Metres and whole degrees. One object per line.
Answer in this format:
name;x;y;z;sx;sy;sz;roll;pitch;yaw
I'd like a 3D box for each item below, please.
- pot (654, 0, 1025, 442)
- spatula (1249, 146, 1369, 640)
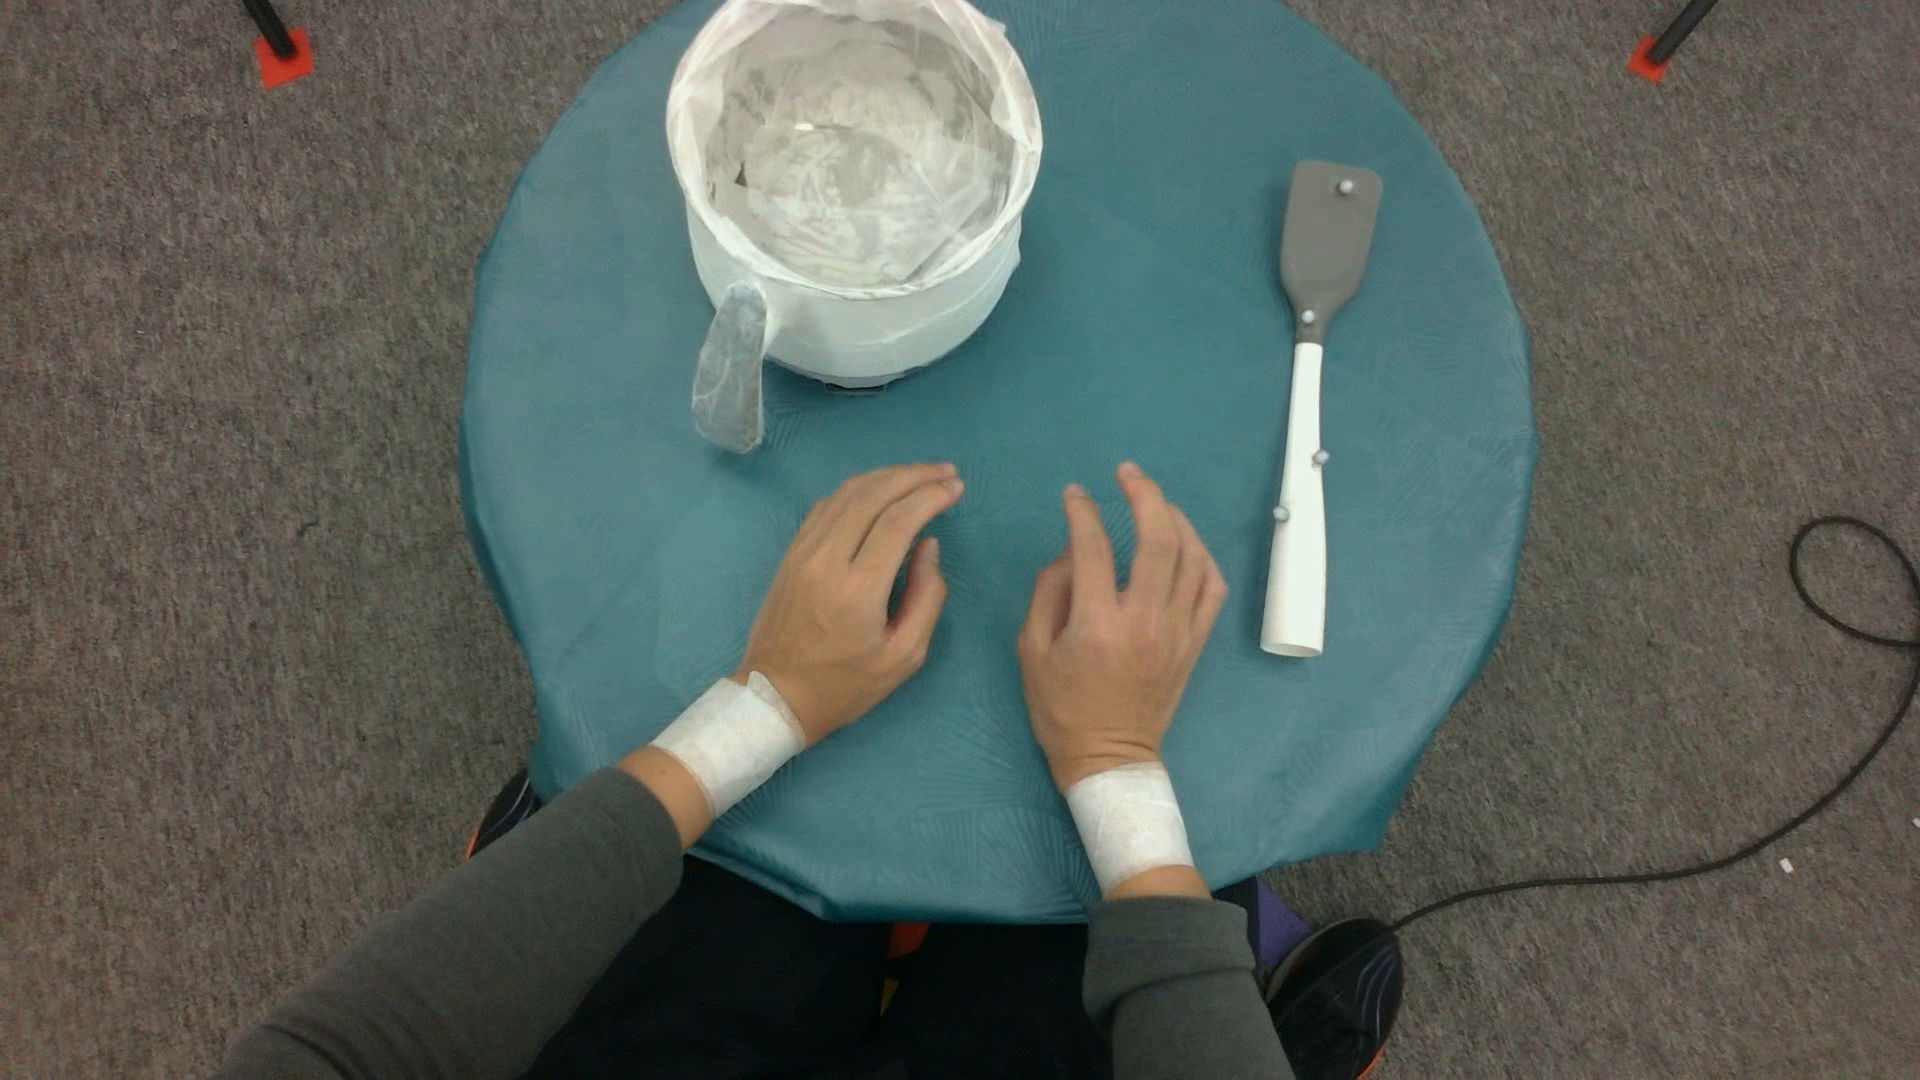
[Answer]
pot;-0.074;-0.163;0.709;0.179;0.136;0.234;28;74;2
spatula;0.189;-0.087;0.769;0.058;0.032;0.288;9;75;0
